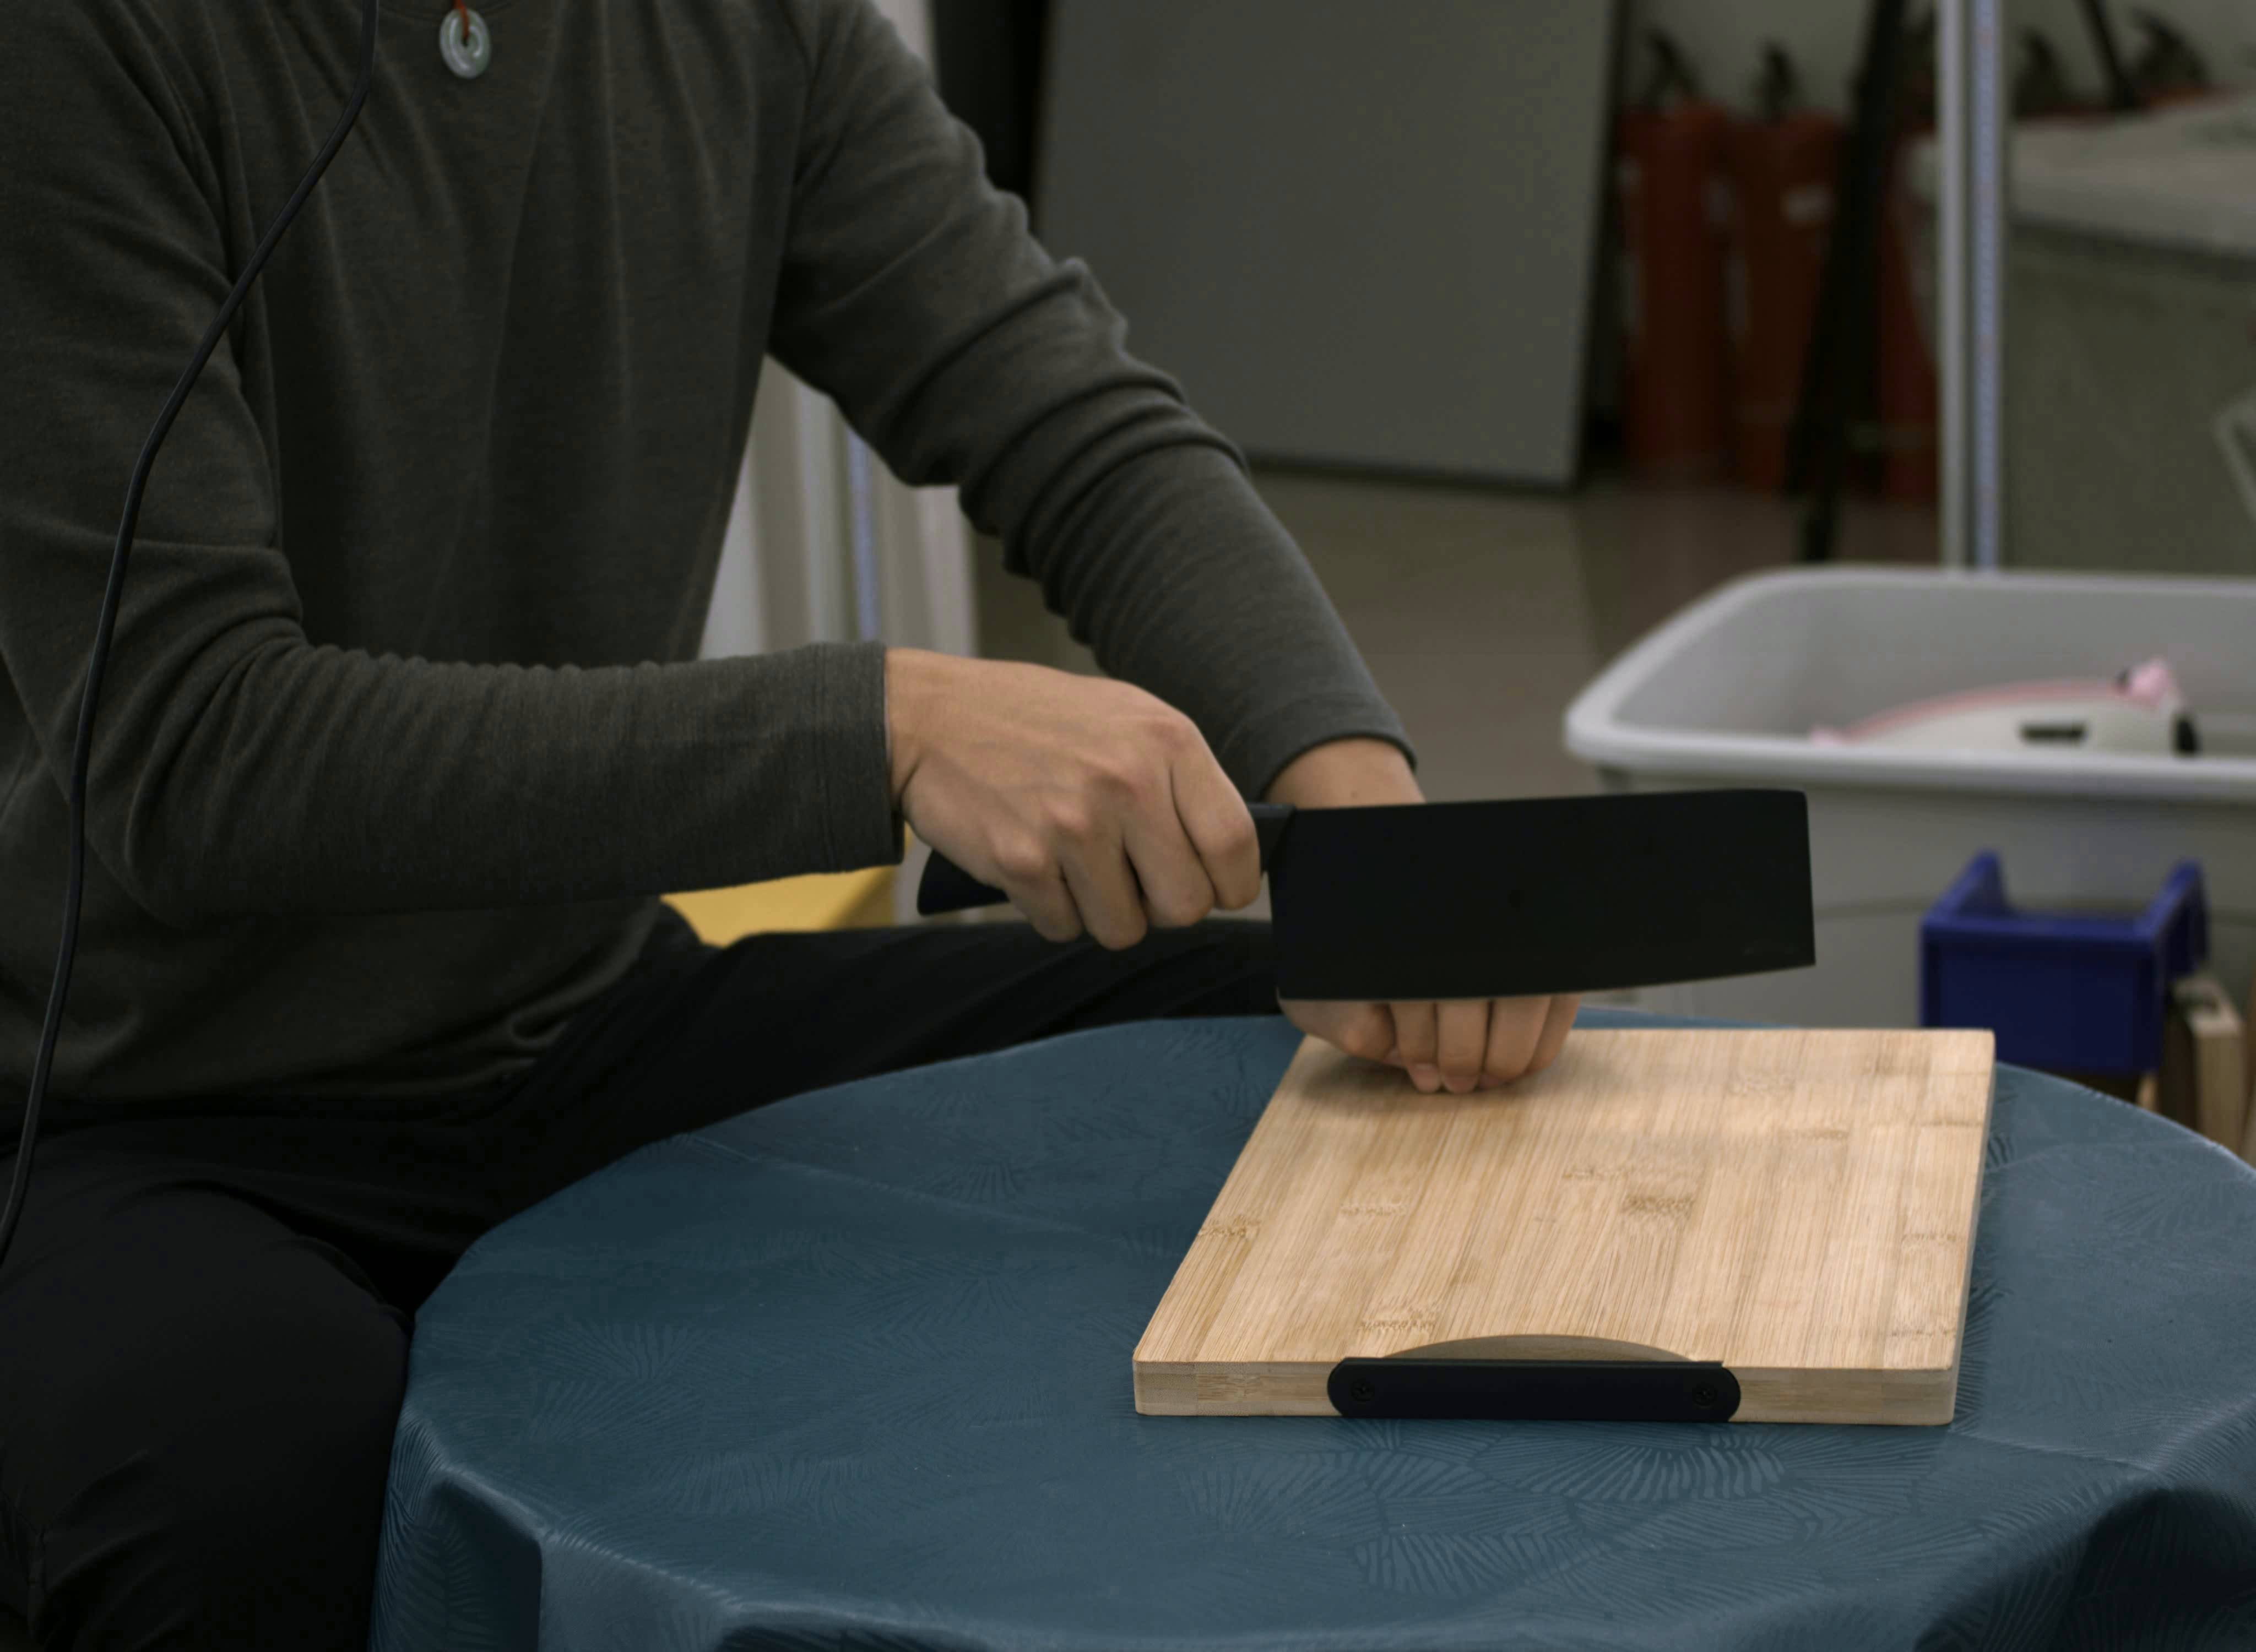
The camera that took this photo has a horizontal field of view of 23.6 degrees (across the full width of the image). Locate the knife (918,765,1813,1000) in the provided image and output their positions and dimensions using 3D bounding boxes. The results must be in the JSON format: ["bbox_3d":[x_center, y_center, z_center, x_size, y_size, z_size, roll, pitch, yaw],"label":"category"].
[{"bbox_3d":[0.076,0.018,1.770,0.301,0.082,0.020,1,8,15],"label":"knife"}]

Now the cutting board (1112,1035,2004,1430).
[{"bbox_3d":[0.147,0.123,1.691,0.249,0.024,0.347,-2,13,12],"label":"cutting board"}]
